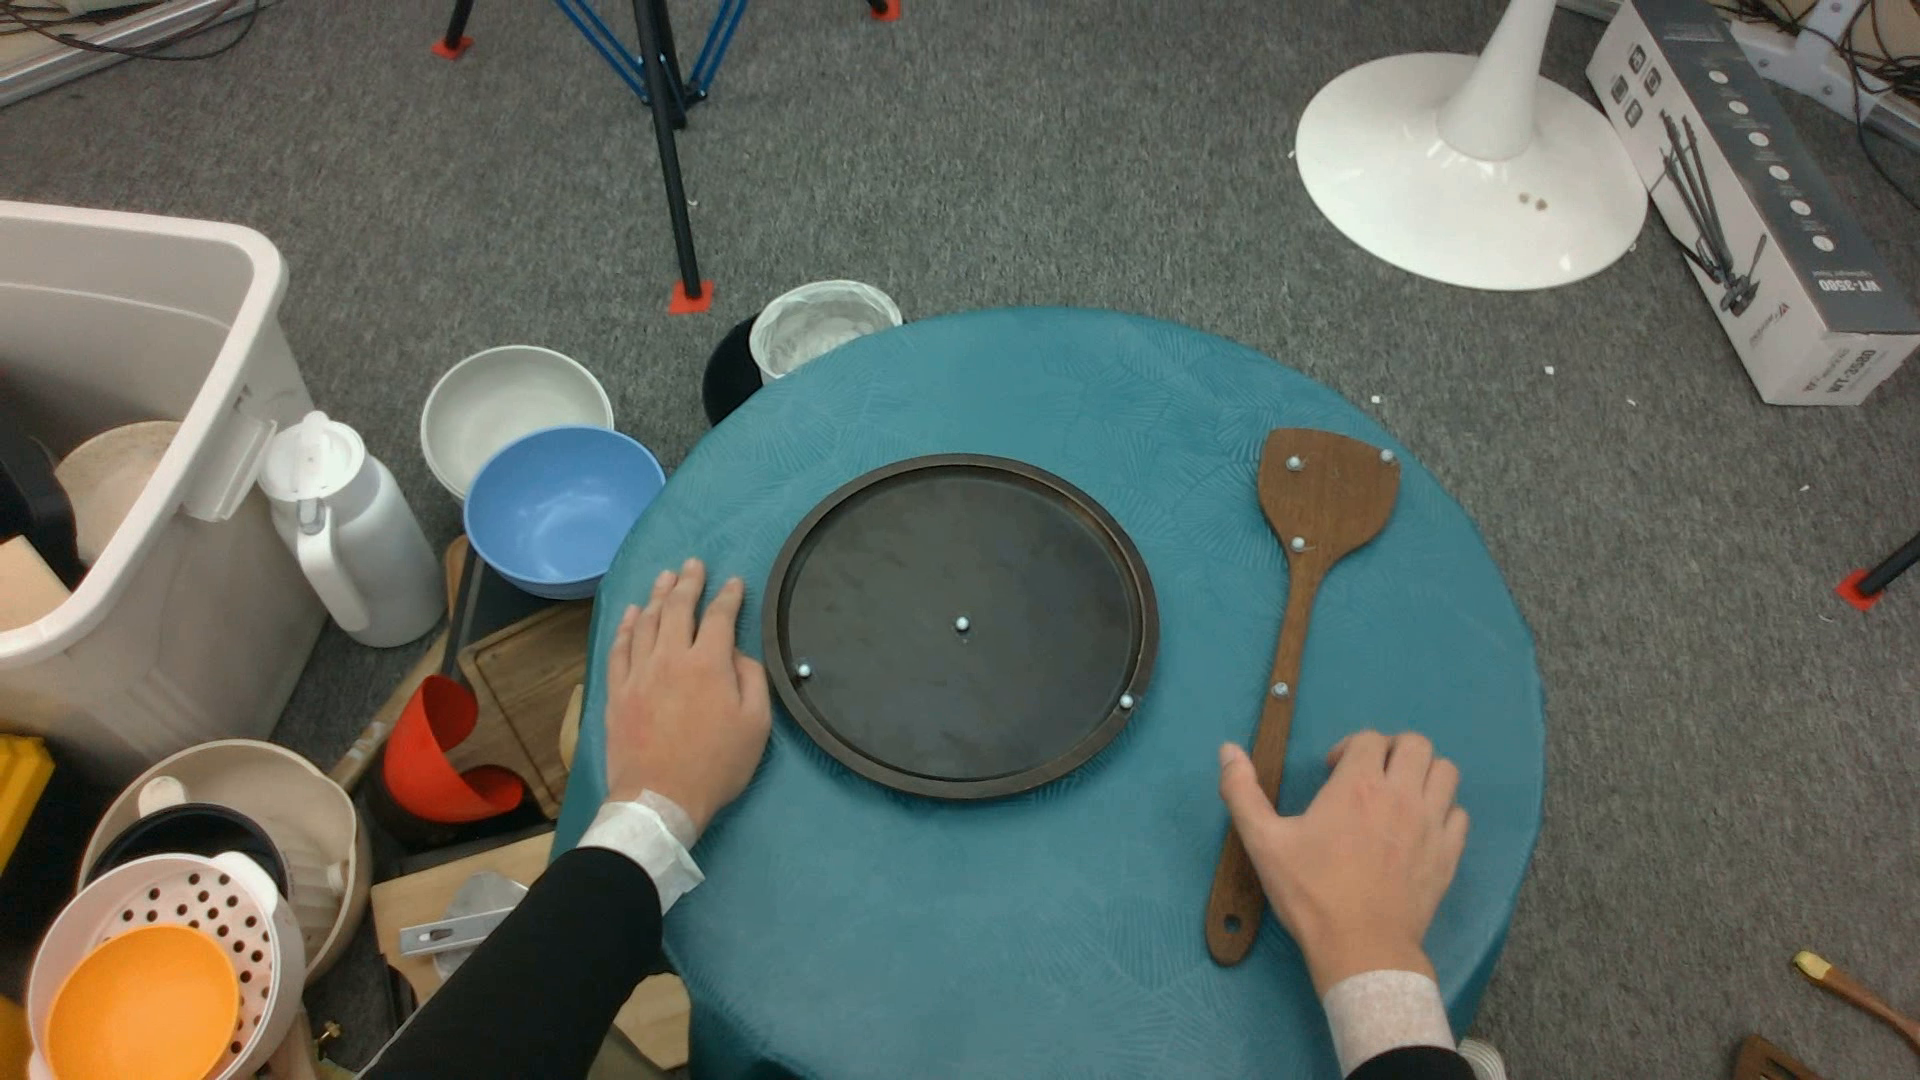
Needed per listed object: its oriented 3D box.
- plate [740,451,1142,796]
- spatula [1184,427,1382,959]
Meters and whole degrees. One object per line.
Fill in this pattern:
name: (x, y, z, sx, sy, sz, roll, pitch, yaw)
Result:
plate: (-0.012, 0.047, 0.874, 0.255, 0.029, 0.256, 2, 55, -3)
spatula: (0.194, 0.078, 0.867, 0.096, 0.016, 0.388, 16, 57, 8)
